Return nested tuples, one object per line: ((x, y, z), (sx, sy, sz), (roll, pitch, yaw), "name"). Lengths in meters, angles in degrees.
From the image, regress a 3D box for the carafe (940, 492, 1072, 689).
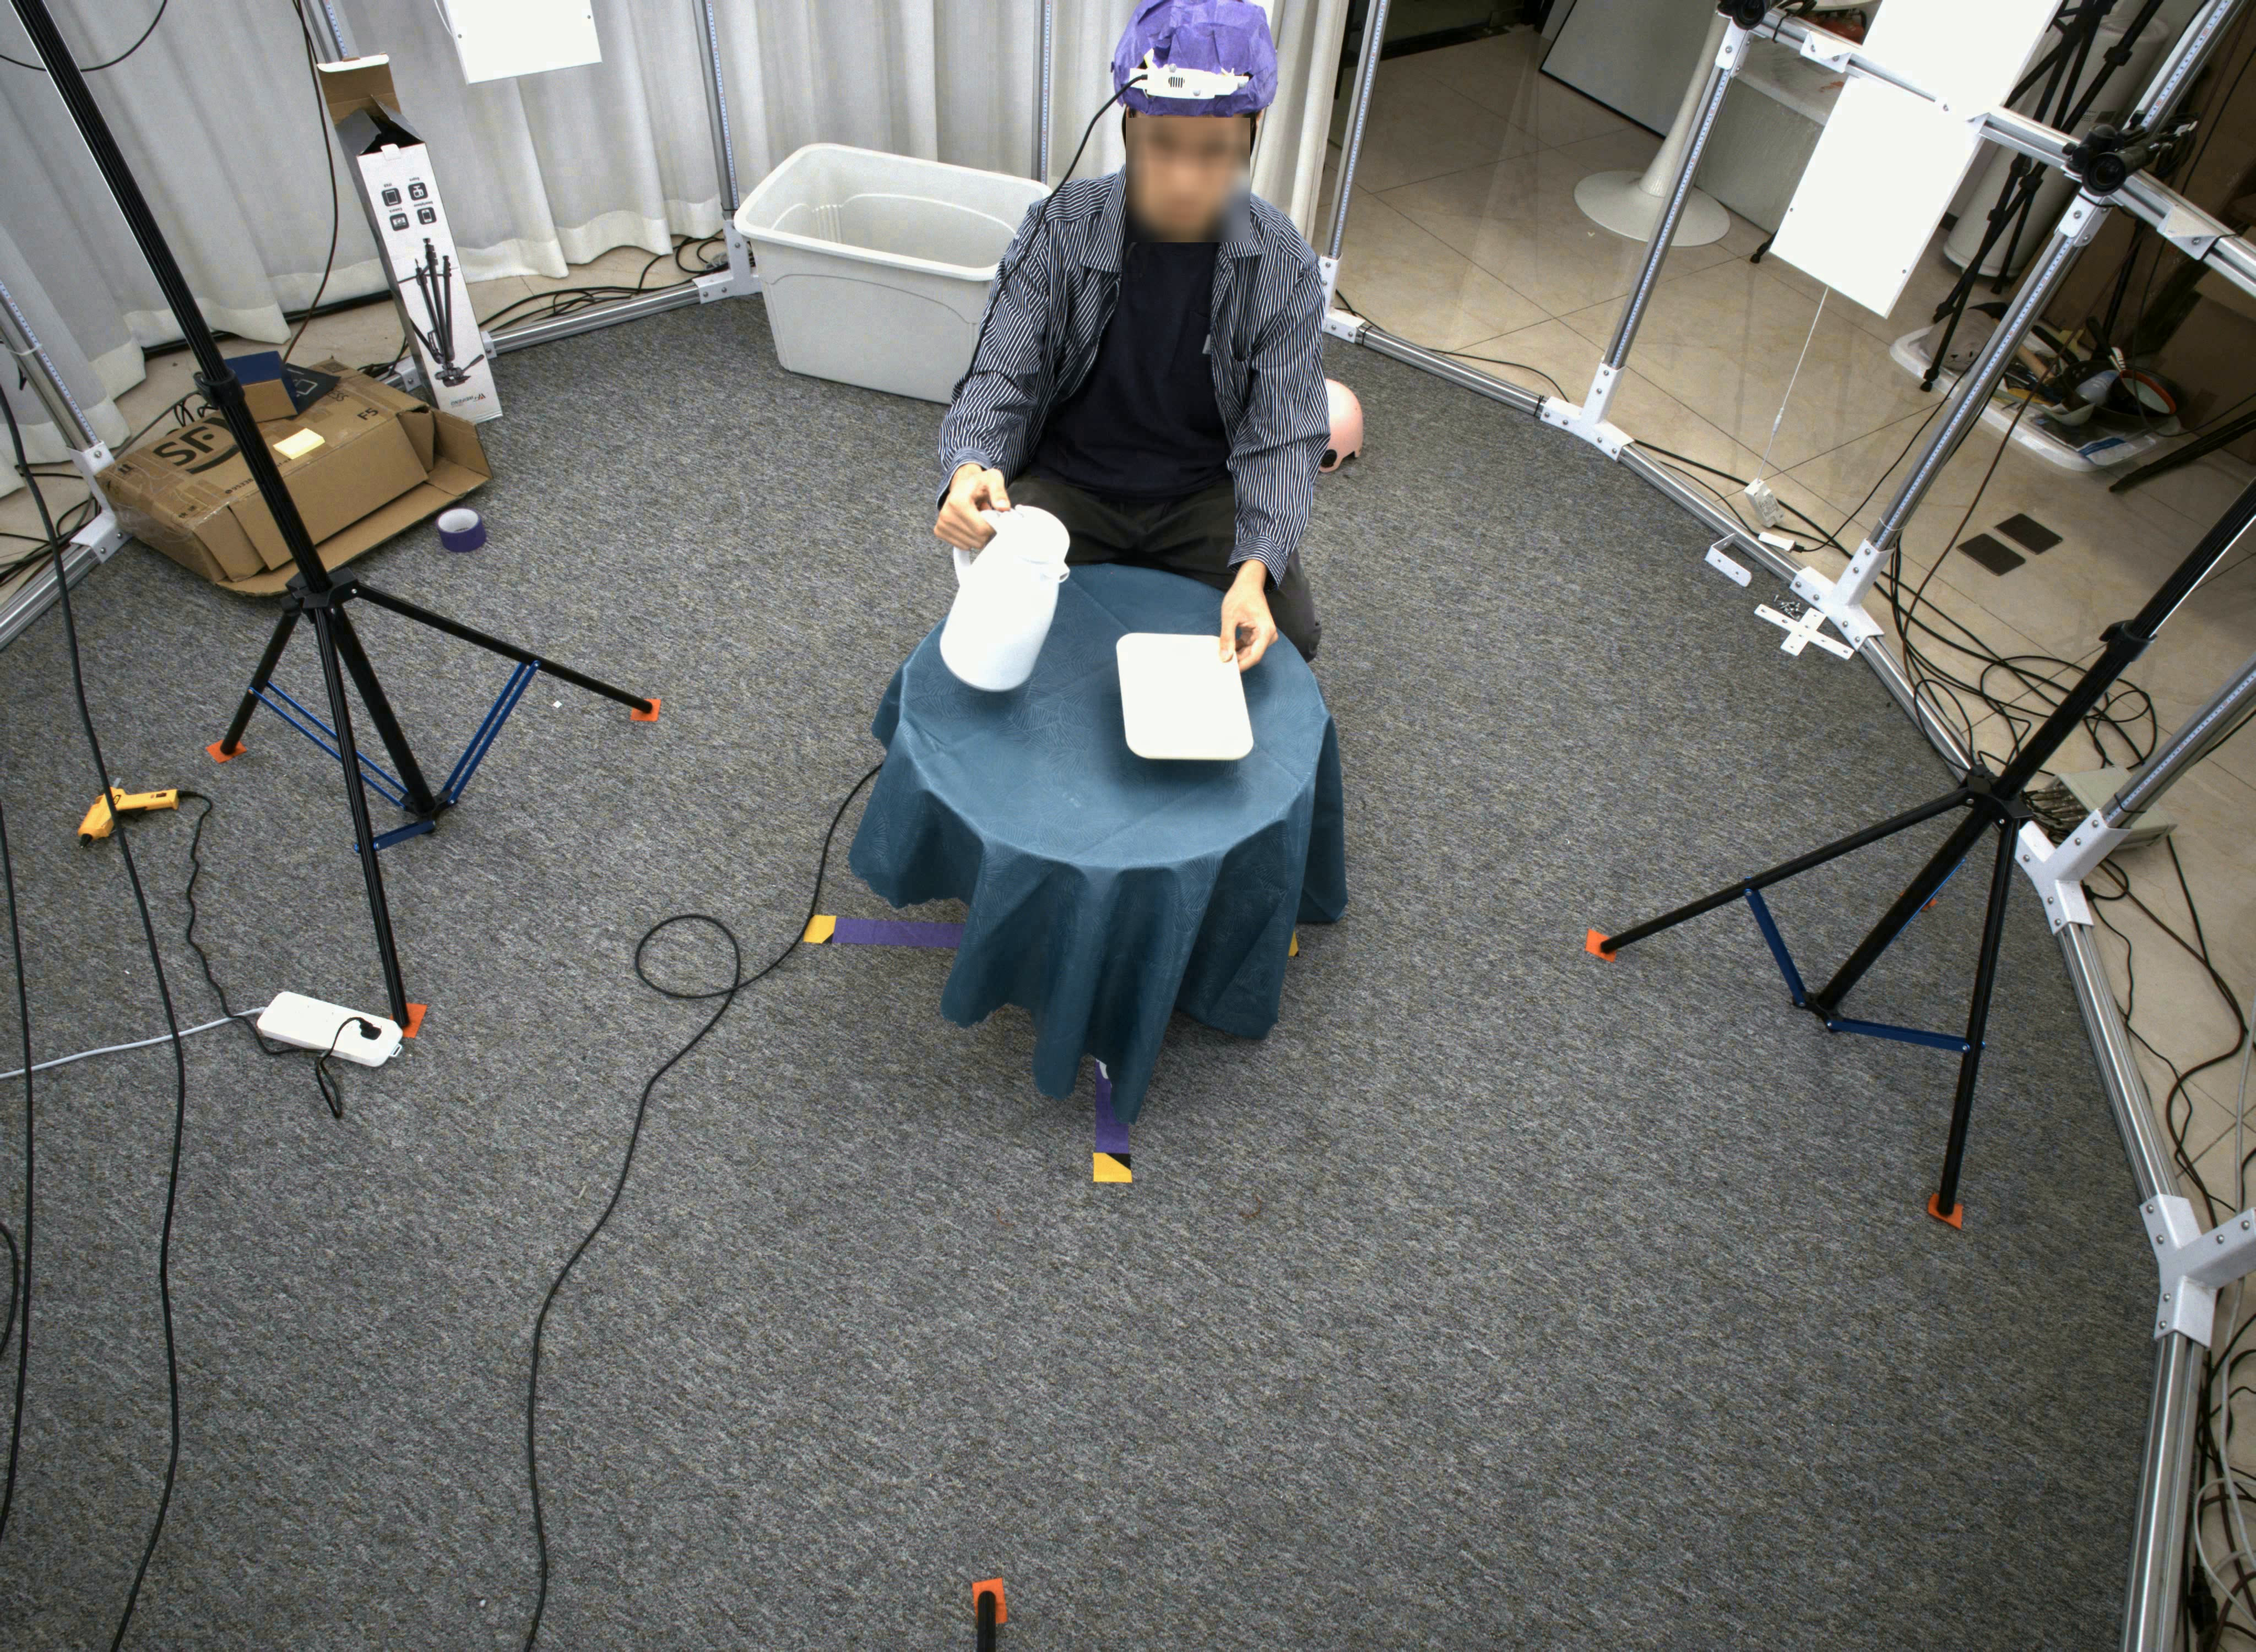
((-0.167, -0.315, 1.666), (0.169, 0.244, 0.134), (41, 52, 9), "carafe")

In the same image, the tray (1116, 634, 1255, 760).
((0.074, -0.176, 1.745), (0.171, 0.017, 0.246), (1, 47, -9), "tray")
